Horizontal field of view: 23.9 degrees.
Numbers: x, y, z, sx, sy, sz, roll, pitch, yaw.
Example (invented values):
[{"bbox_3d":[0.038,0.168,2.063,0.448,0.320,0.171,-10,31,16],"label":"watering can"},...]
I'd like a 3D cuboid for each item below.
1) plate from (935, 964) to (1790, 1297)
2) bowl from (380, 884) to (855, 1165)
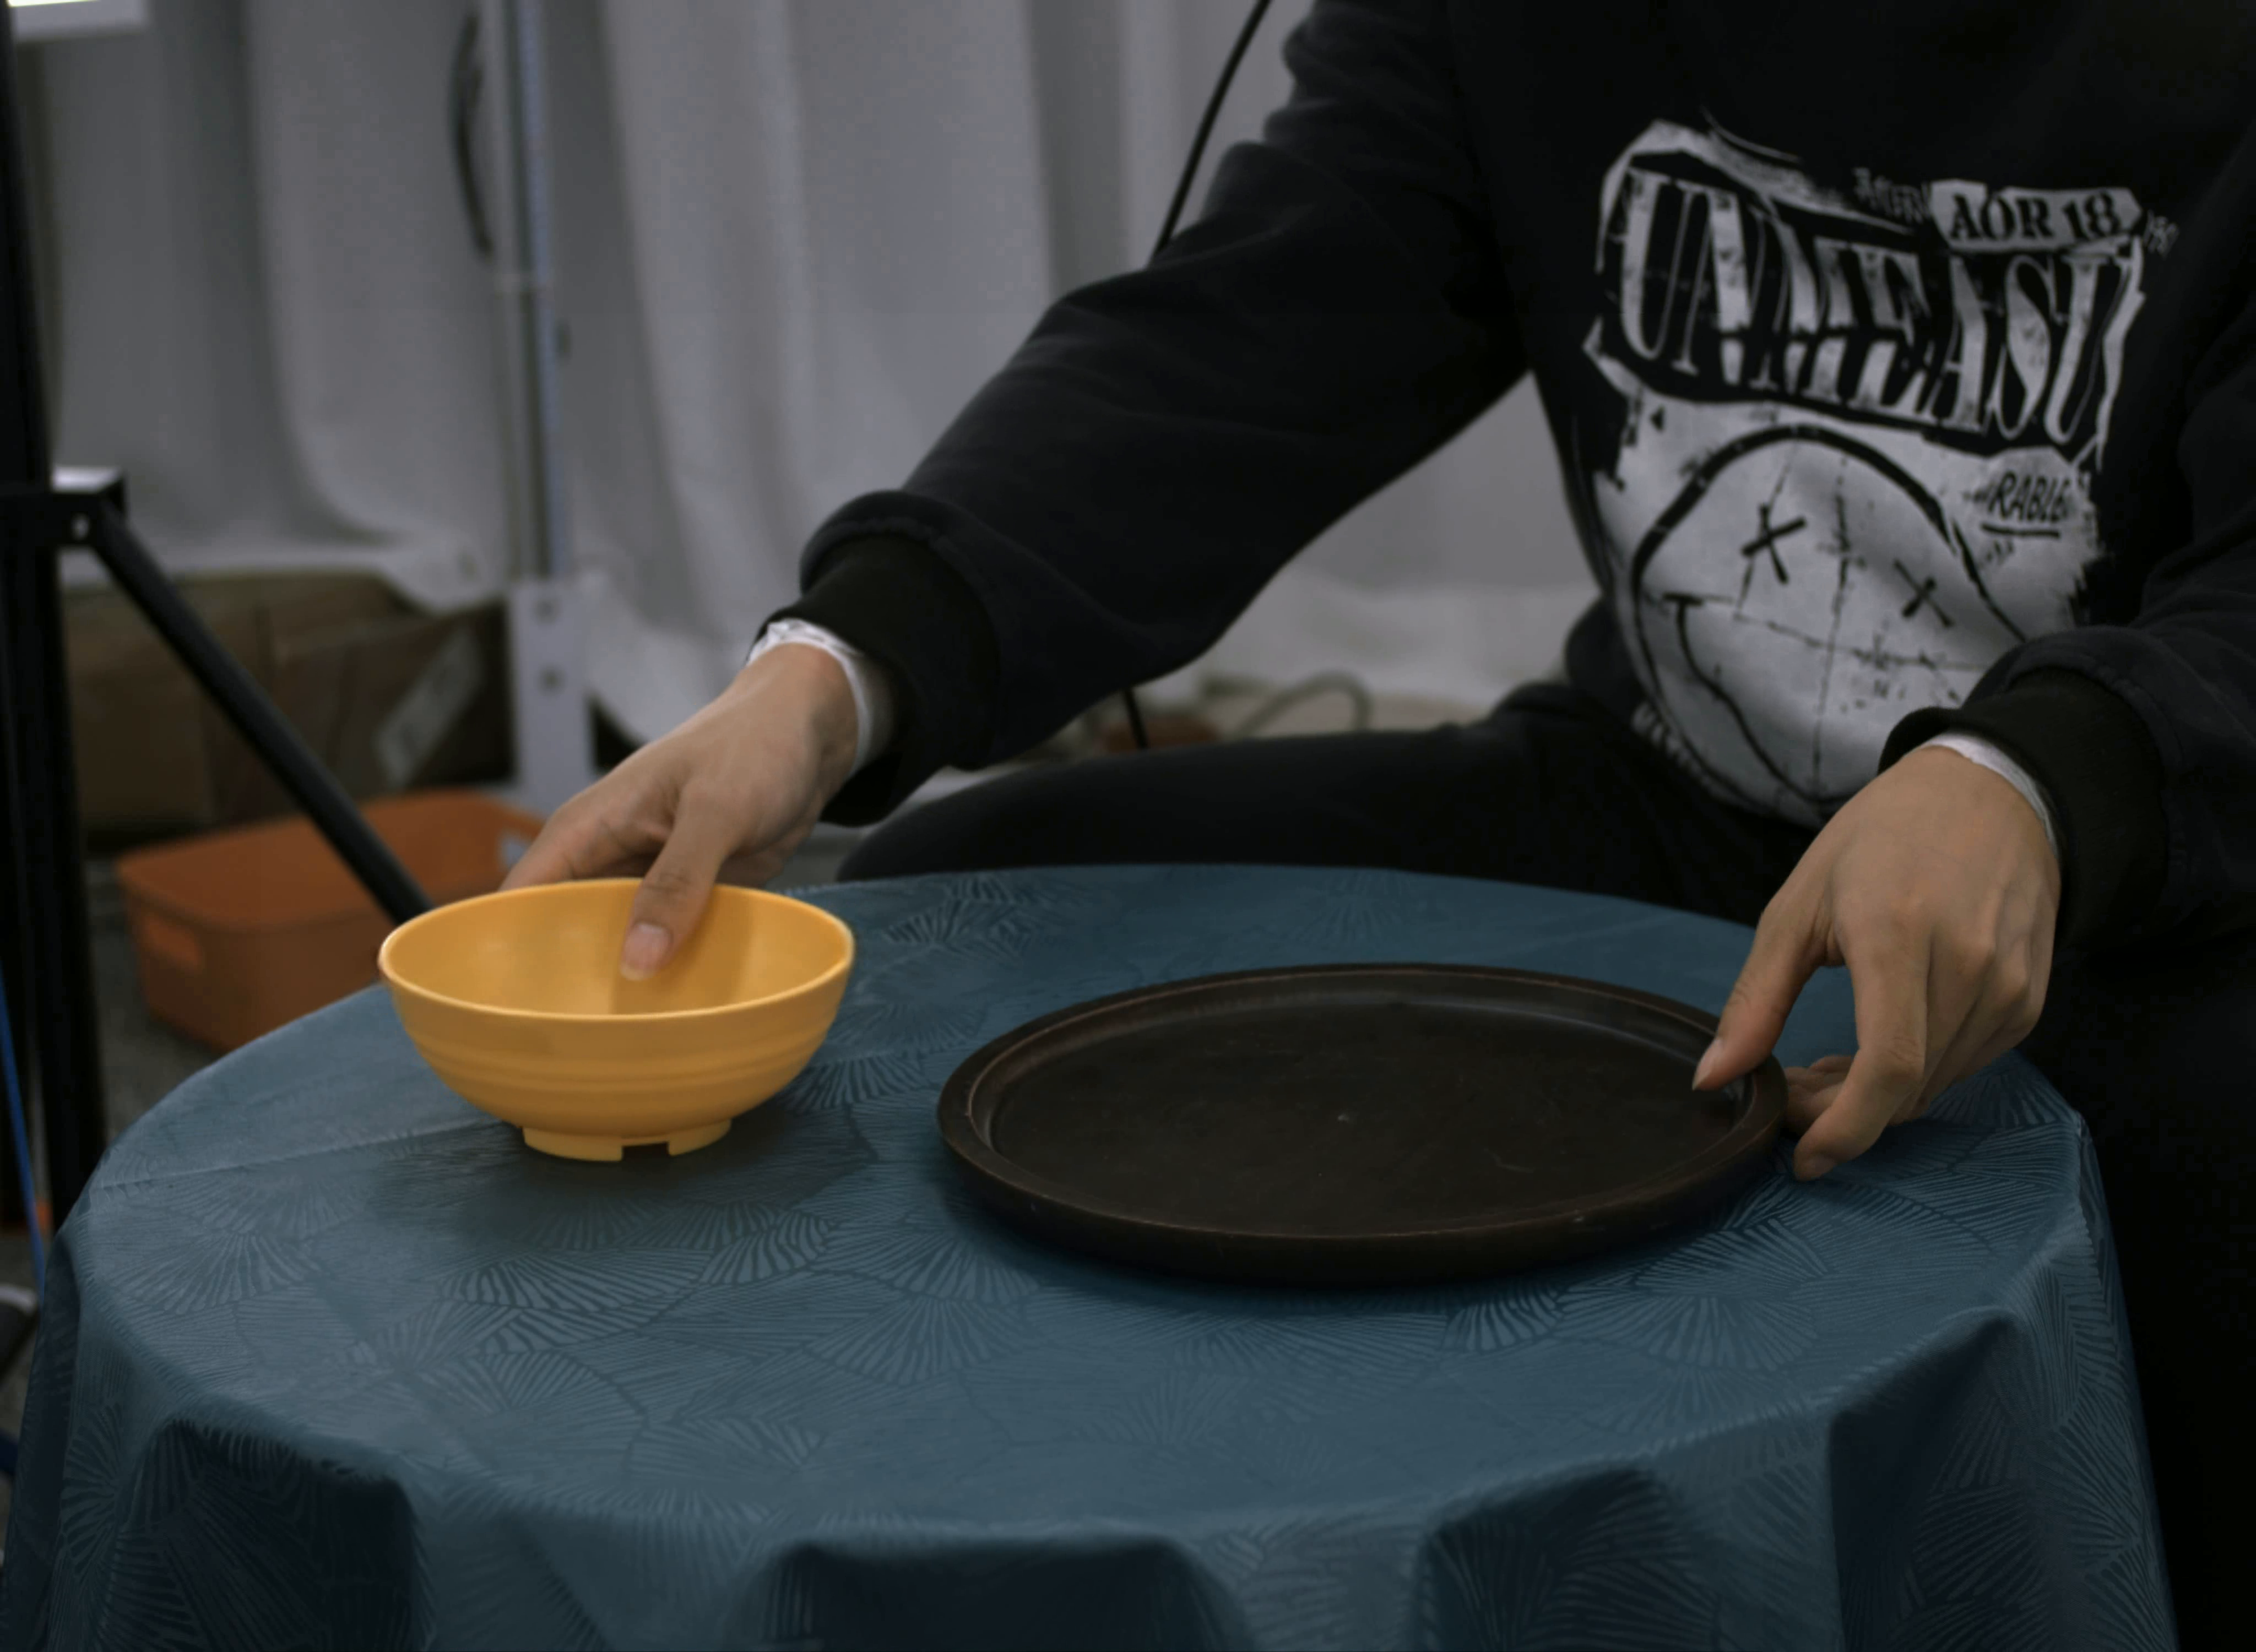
[{"bbox_3d":[0.070,0.088,1.575,0.253,0.029,0.256,-4,14,0],"label":"plate"},{"bbox_3d":[-0.156,0.065,1.629,0.144,0.060,0.146,1,15,-2],"label":"bowl"}]
